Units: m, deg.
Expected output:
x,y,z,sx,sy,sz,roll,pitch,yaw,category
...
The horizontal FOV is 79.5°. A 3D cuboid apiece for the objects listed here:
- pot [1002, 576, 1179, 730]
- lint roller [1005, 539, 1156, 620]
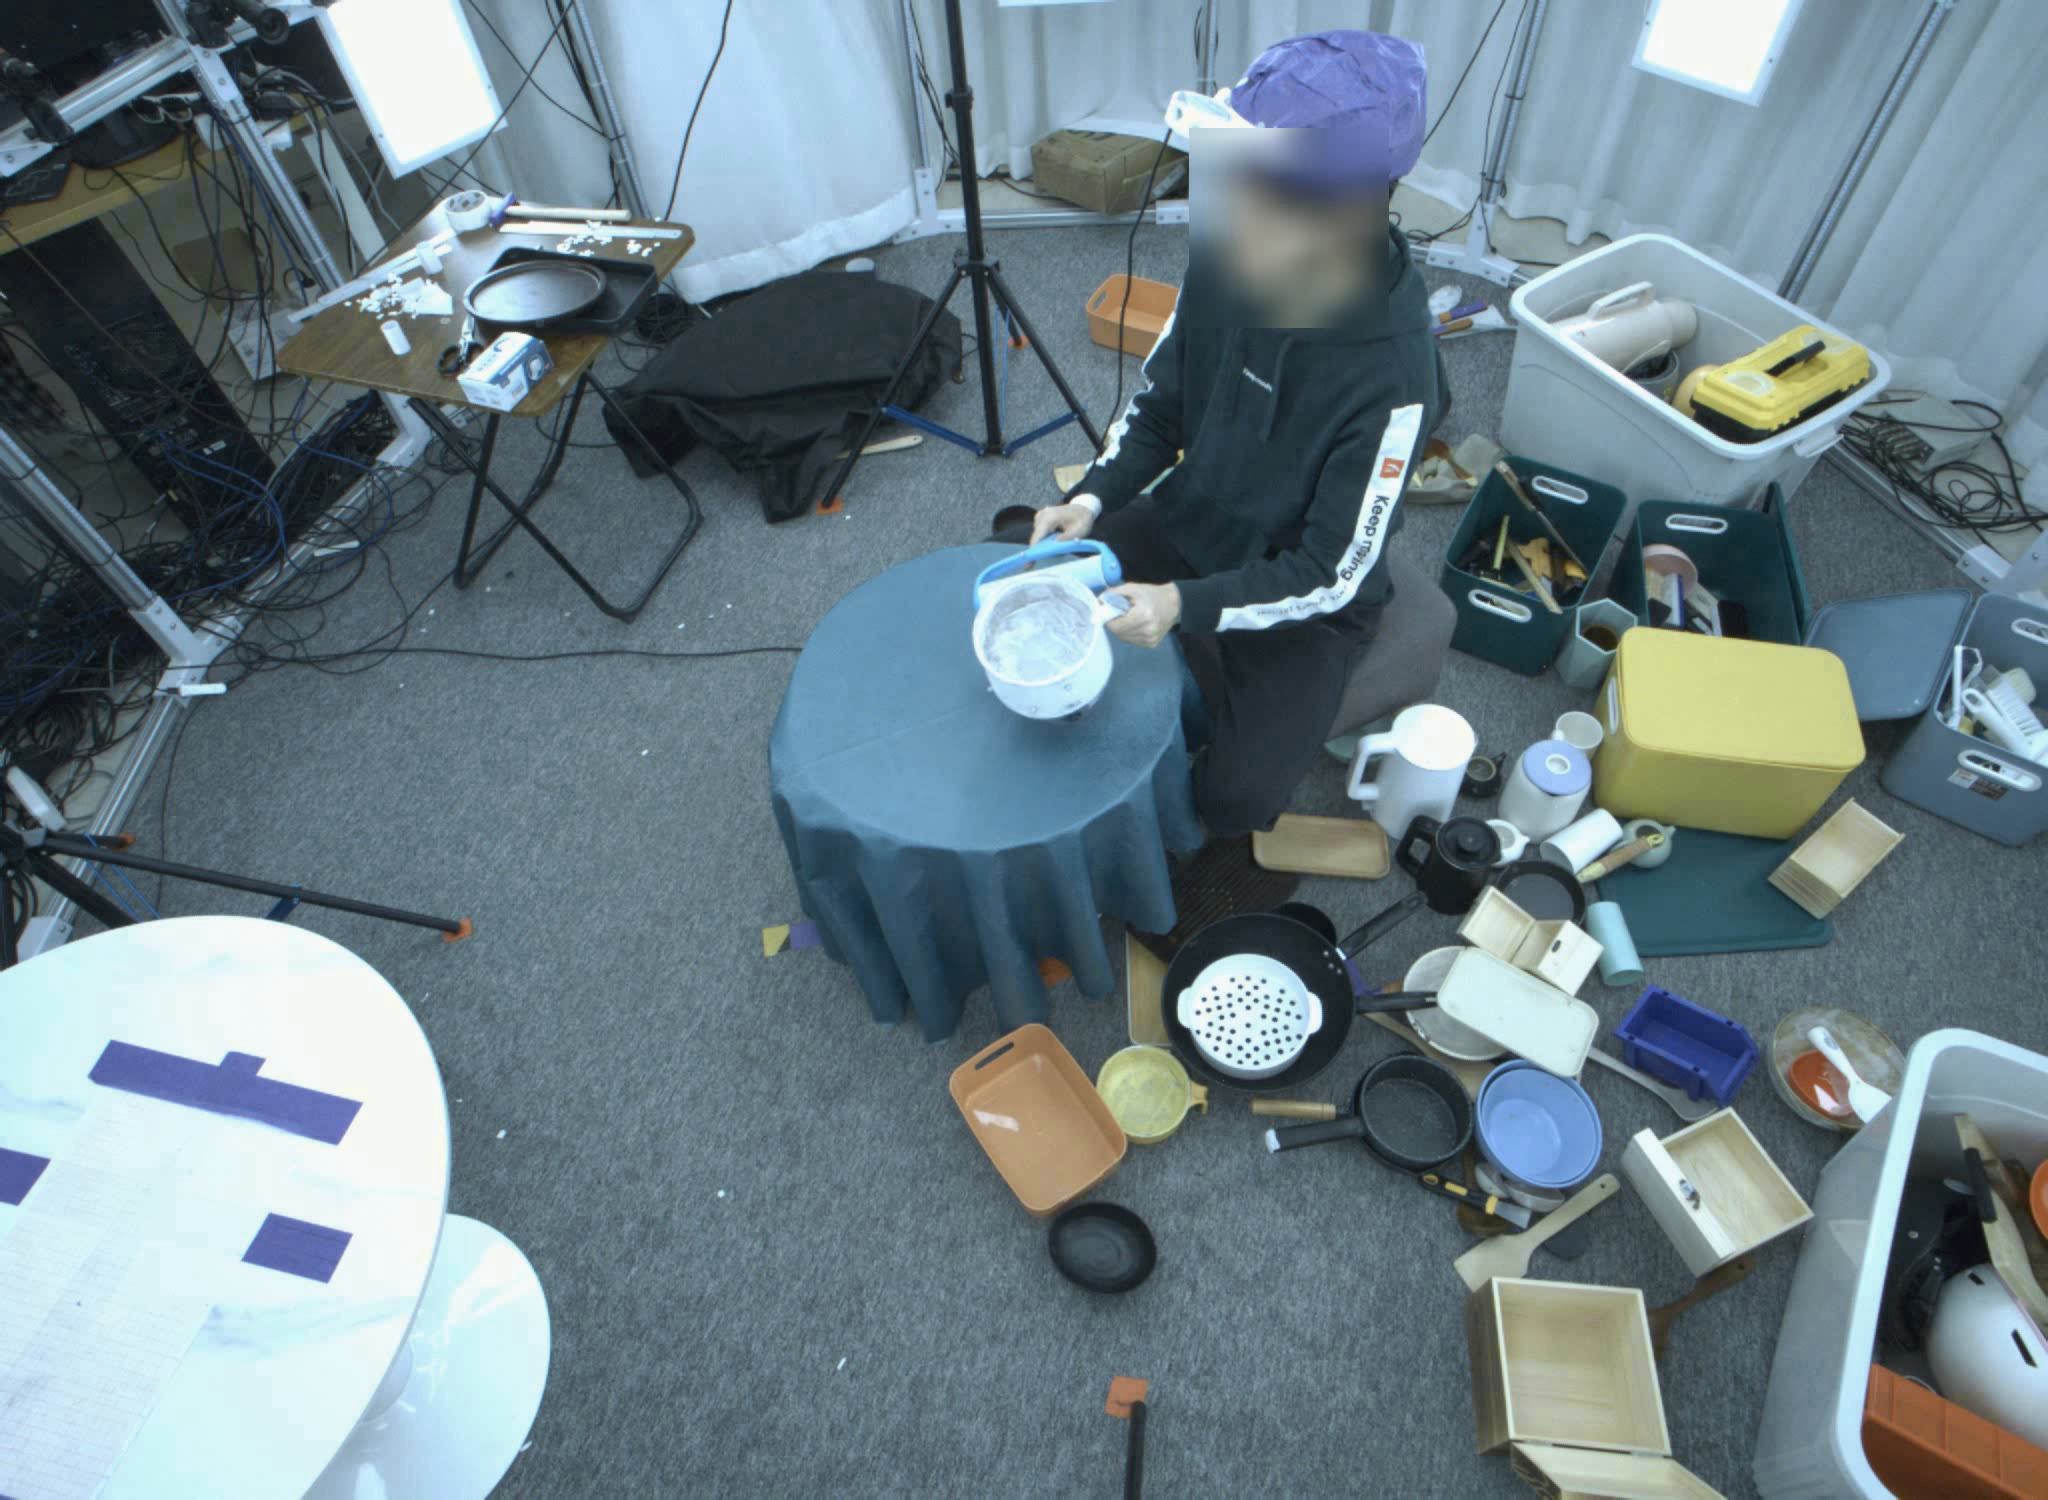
x,y,z,sx,sy,sz,roll,pitch,yaw,category
0.096,-0.141,1.687,0.233,0.138,0.176,-24,64,1,pot
0.085,-0.265,1.788,0.226,0.069,0.179,-13,43,21,lint roller
